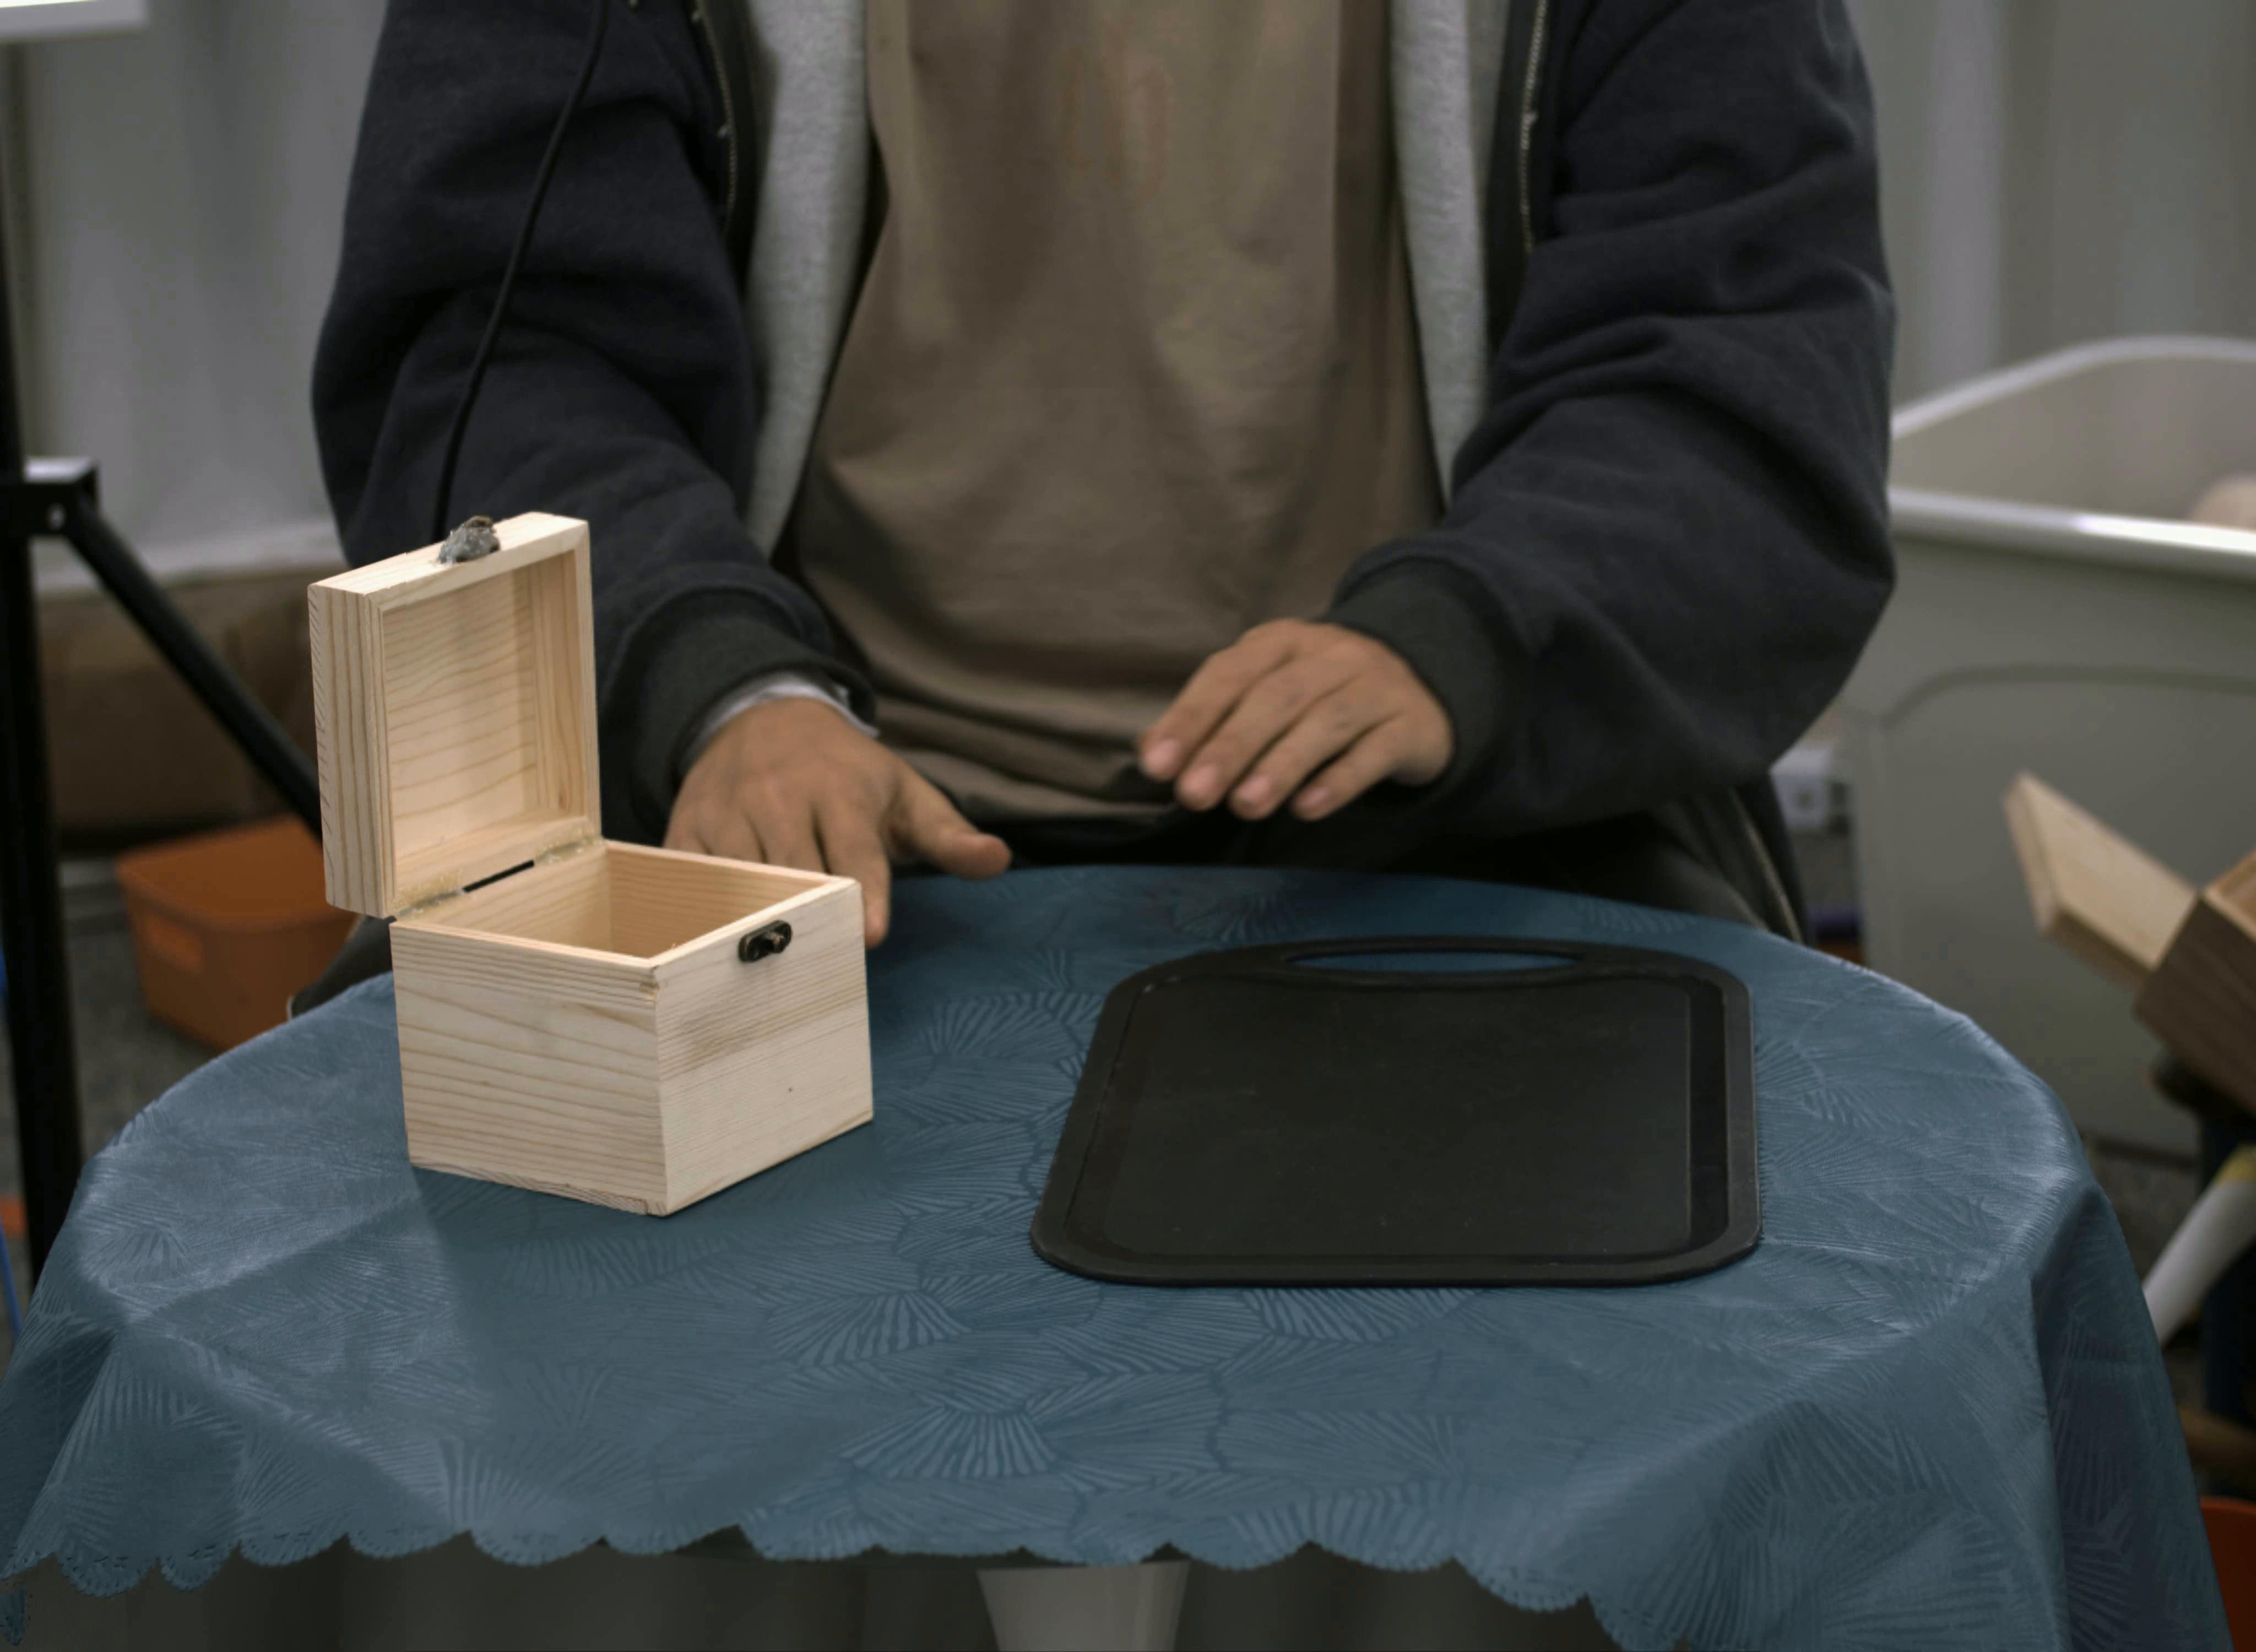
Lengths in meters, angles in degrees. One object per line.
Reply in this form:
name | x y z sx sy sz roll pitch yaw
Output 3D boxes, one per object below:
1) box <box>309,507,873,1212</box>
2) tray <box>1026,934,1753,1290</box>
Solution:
box | -0.159 0.007 1.606 0.136 0.184 0.100 7 18 35
tray | 0.086 0.082 1.627 0.211 0.010 0.325 0 16 7
